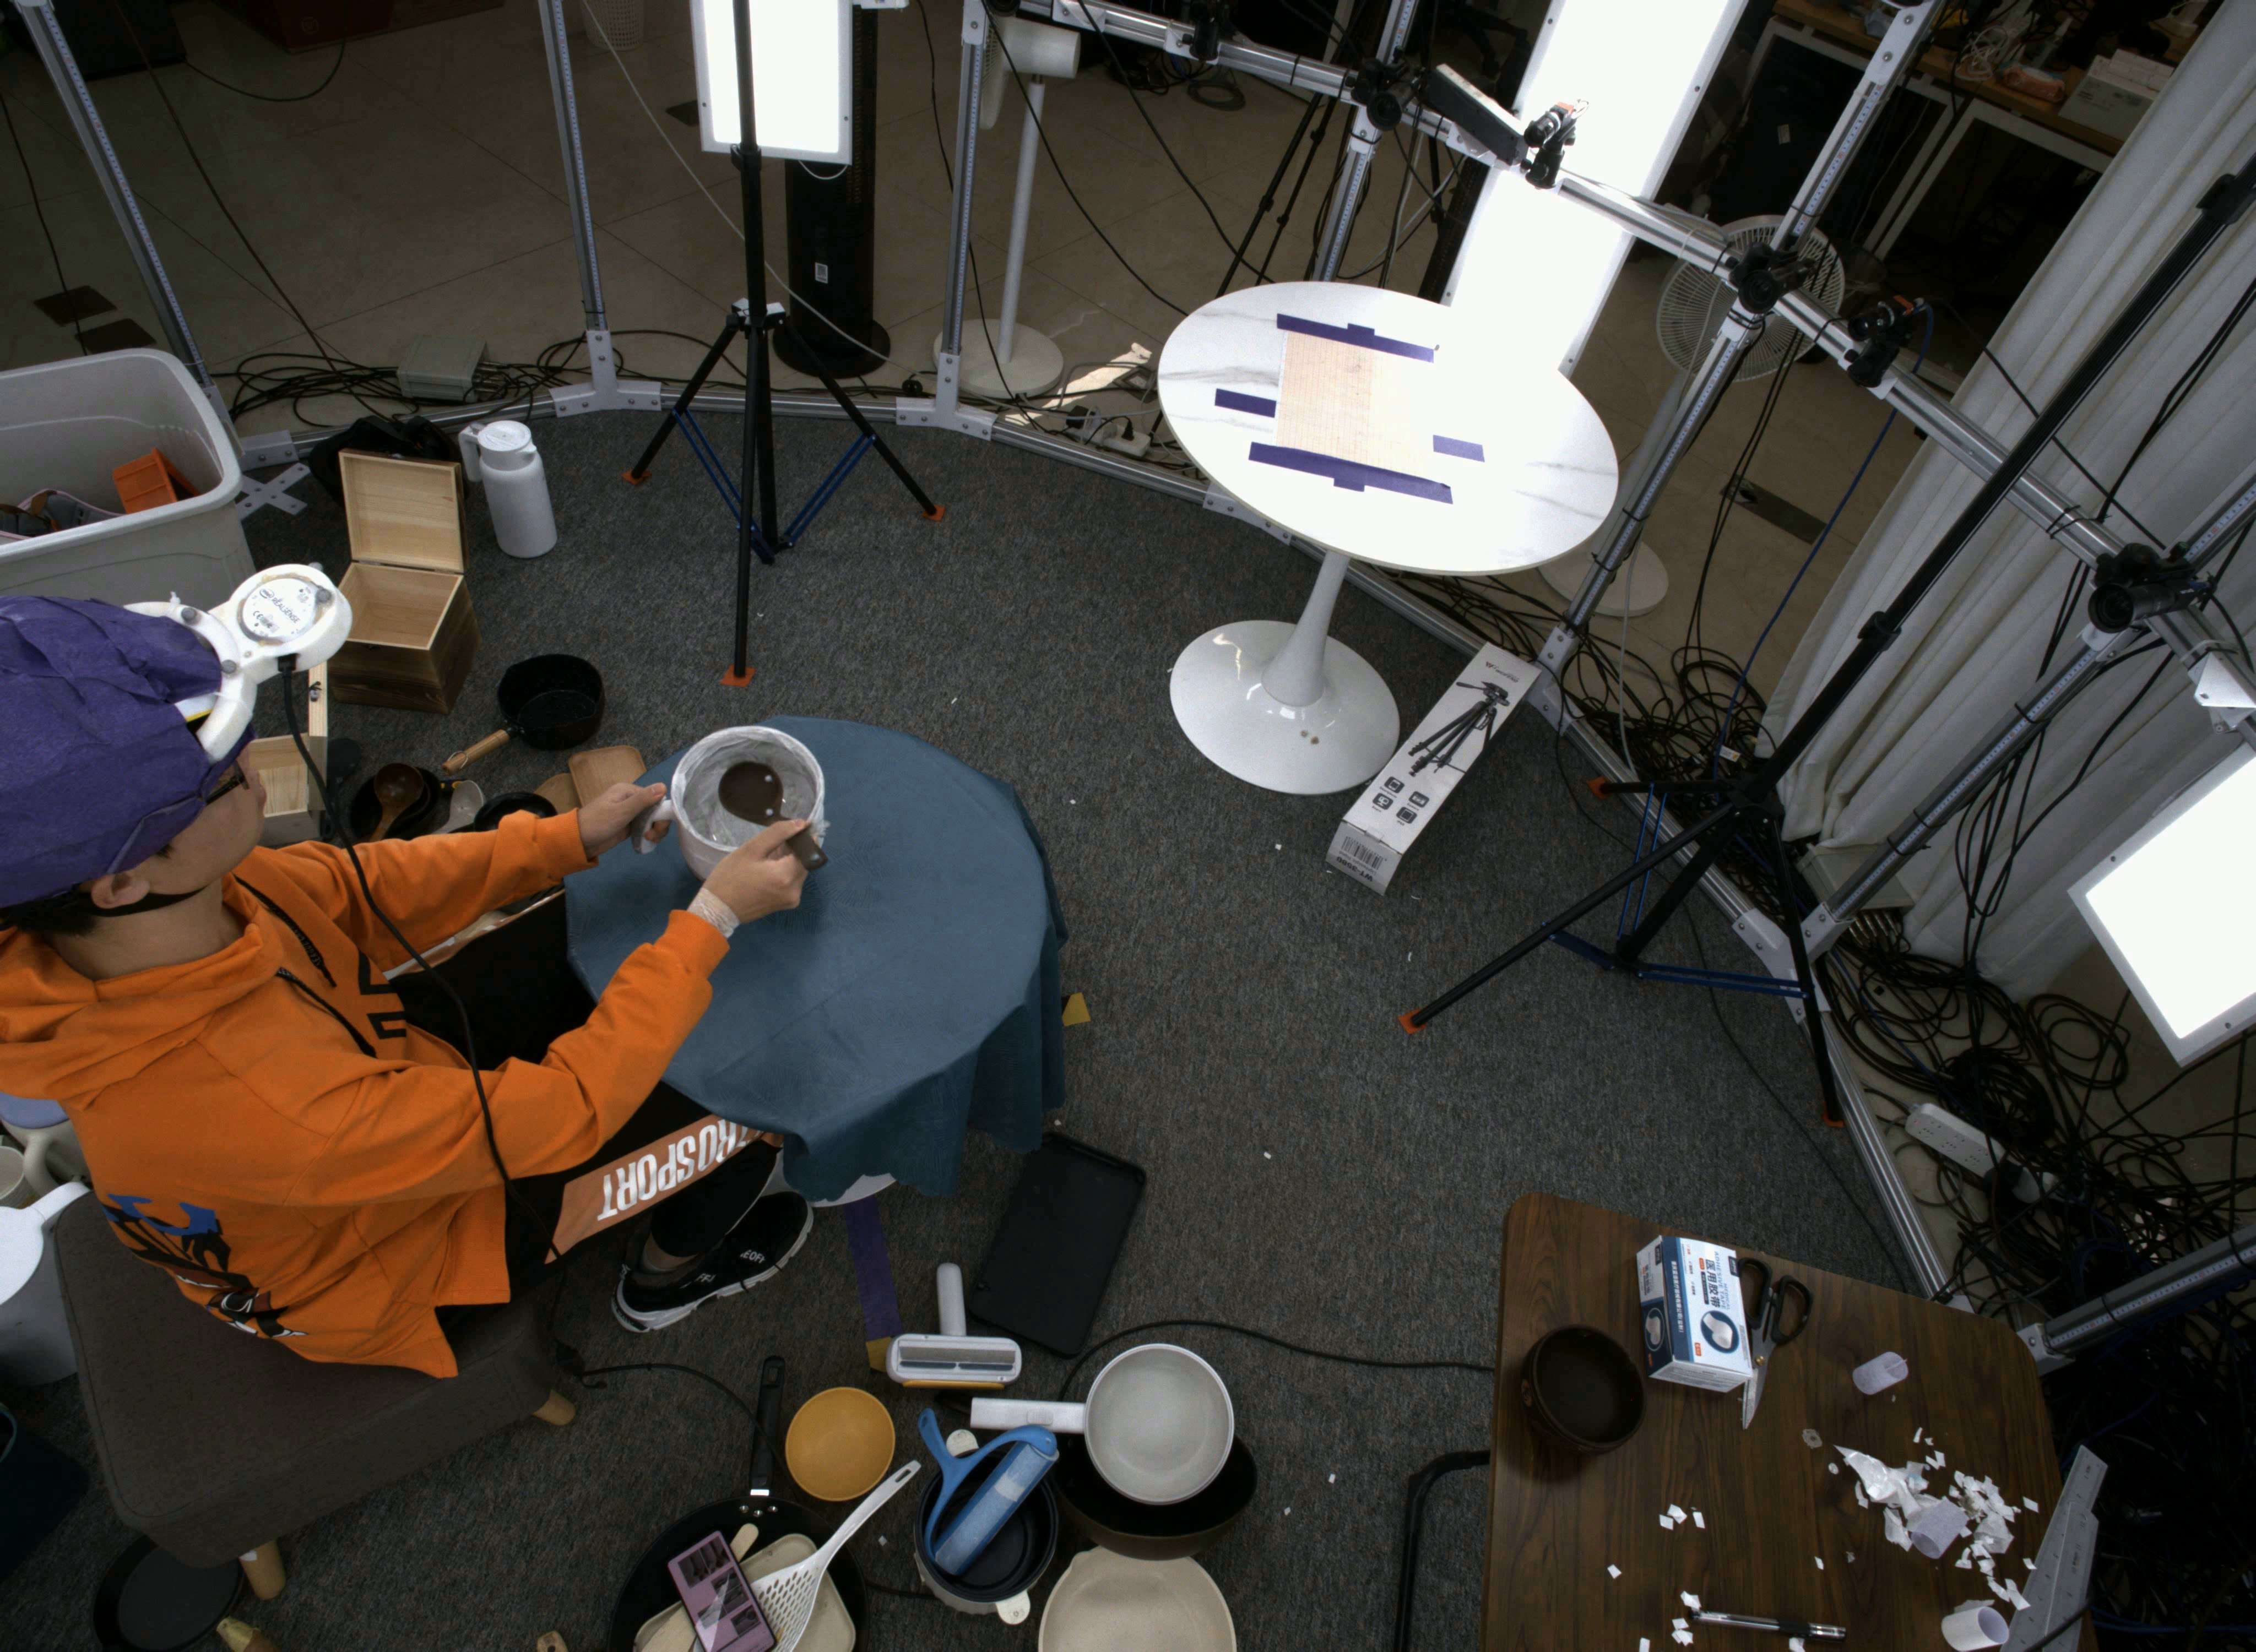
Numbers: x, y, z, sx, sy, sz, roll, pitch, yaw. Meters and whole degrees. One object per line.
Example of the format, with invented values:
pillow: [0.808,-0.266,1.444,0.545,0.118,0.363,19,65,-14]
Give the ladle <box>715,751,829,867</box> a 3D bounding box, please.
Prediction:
ladle: [-0.387,-0.024,1.406,0.076,0.074,0.264,-33,28,-19]

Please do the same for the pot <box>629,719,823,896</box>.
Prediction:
pot: [-0.483,-0.015,1.551,0.234,0.138,0.175,-7,62,-19]
